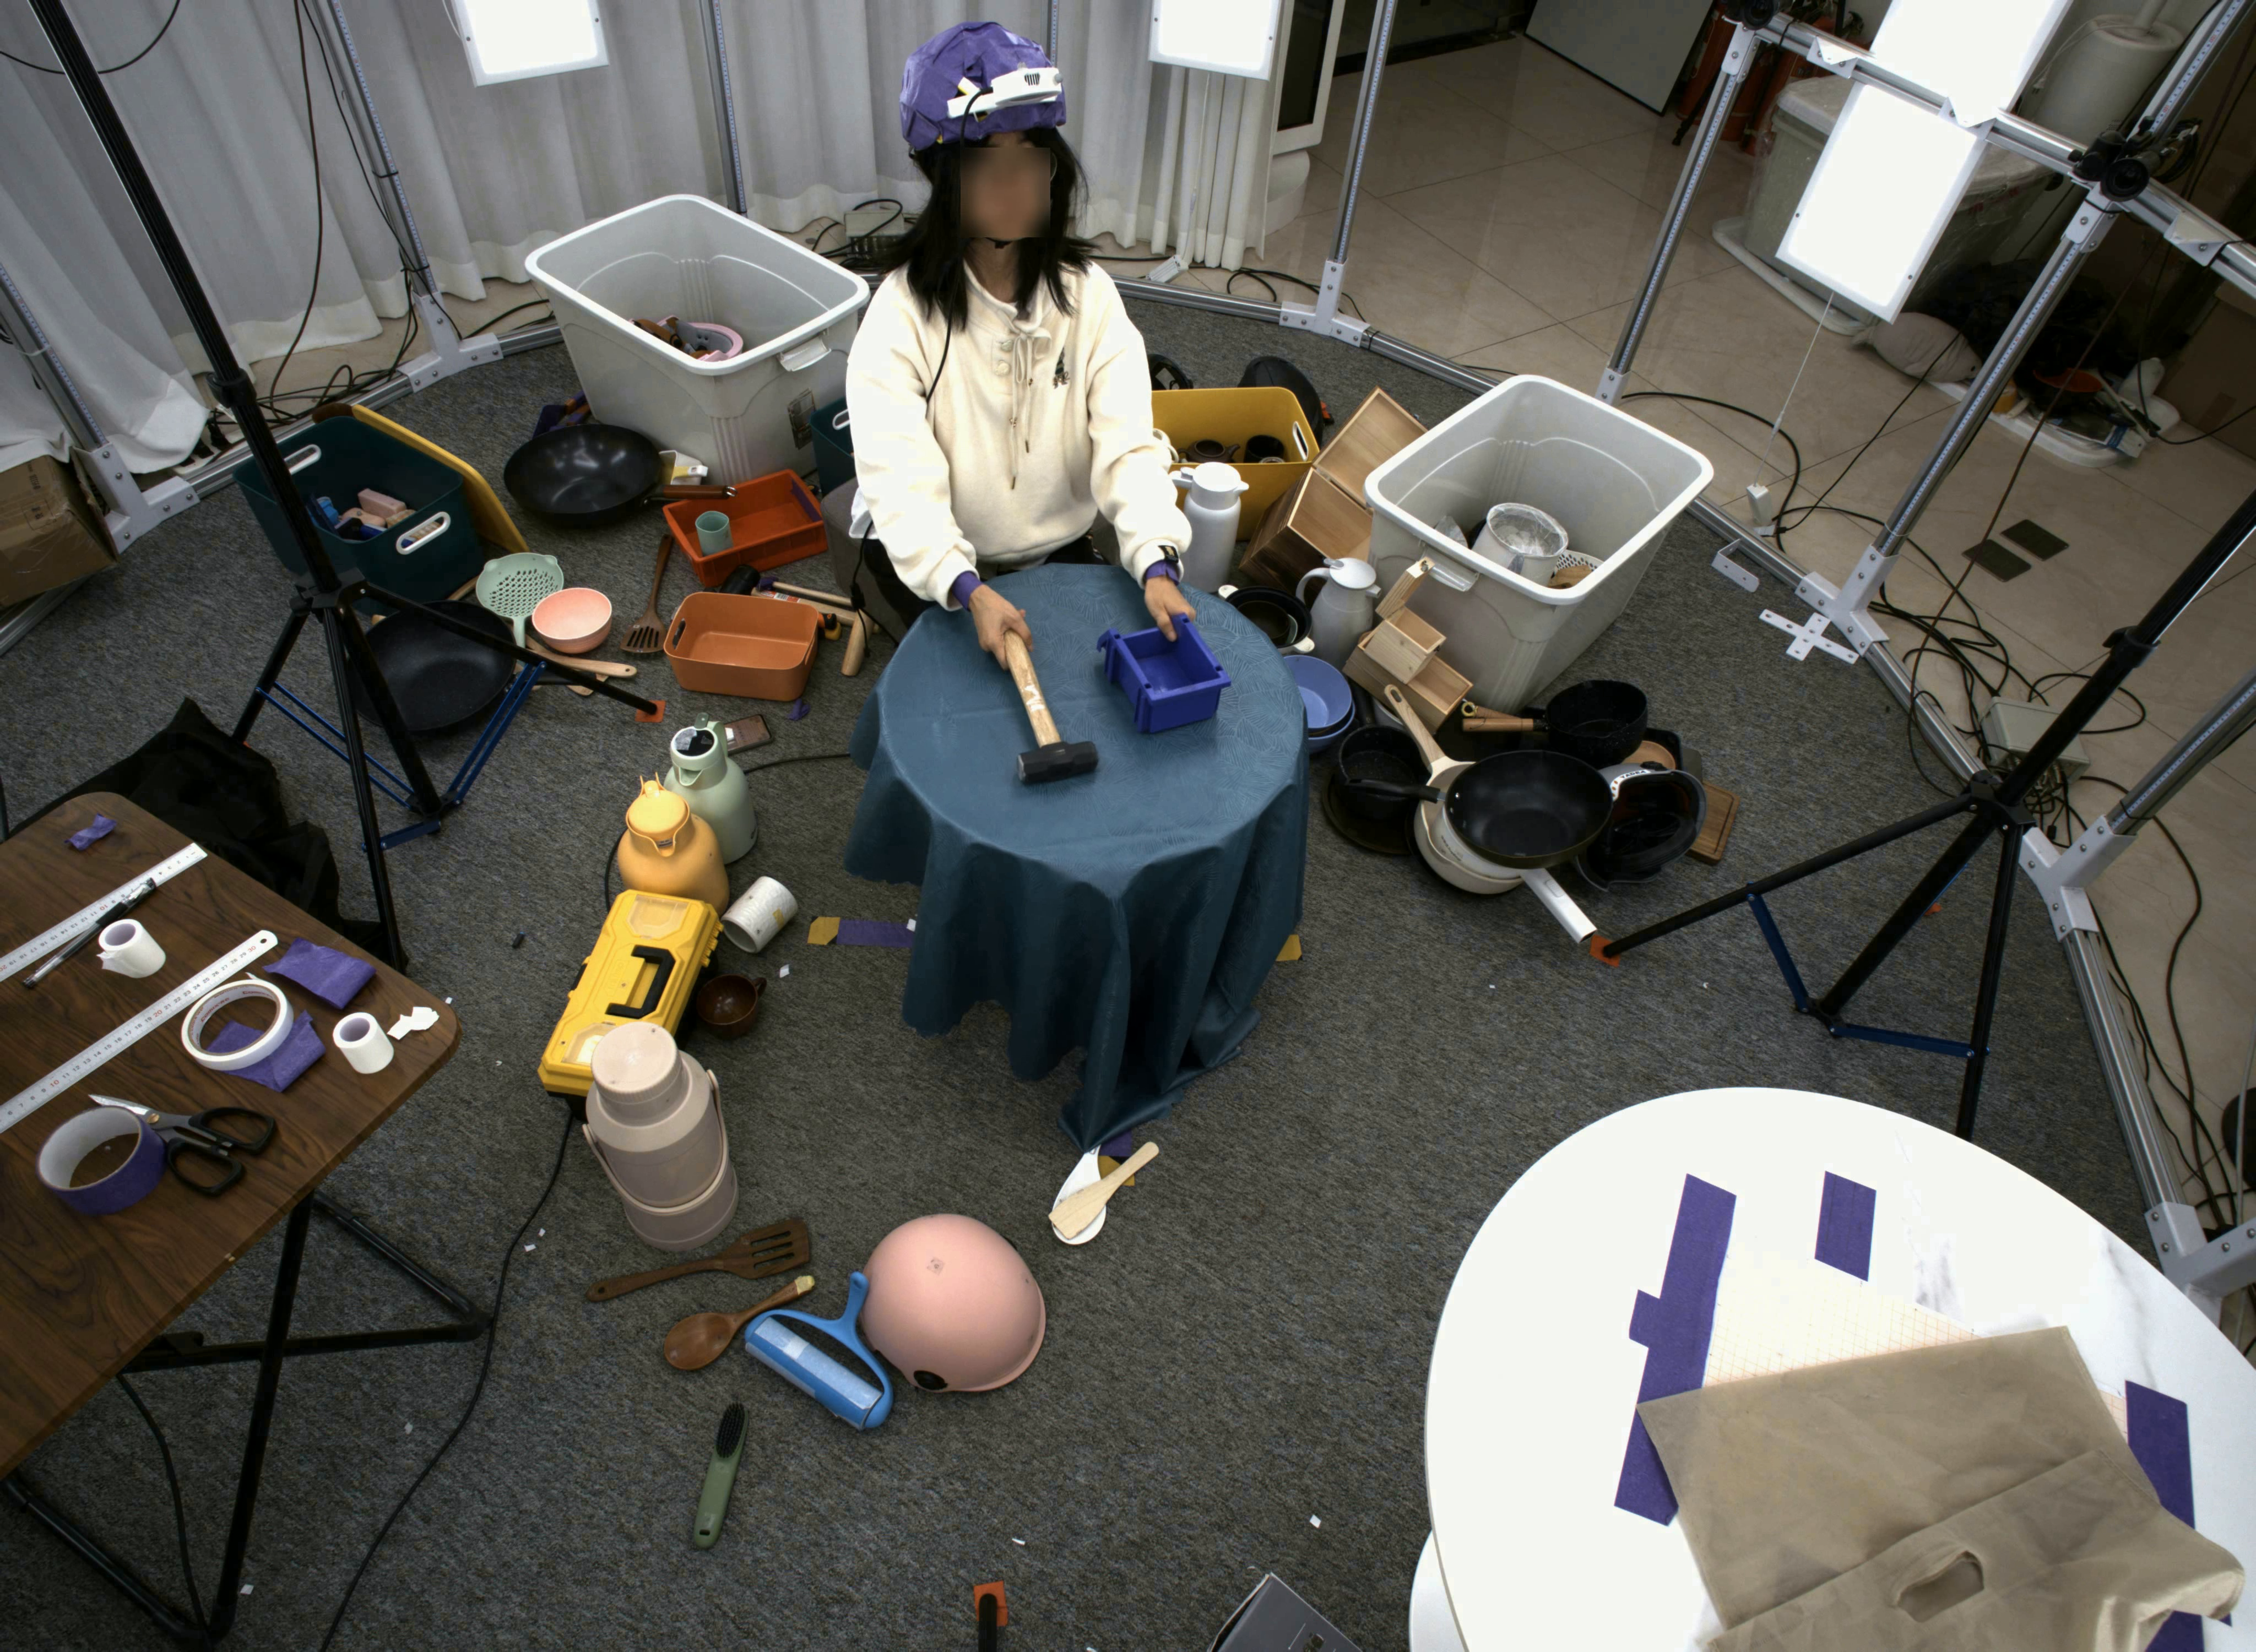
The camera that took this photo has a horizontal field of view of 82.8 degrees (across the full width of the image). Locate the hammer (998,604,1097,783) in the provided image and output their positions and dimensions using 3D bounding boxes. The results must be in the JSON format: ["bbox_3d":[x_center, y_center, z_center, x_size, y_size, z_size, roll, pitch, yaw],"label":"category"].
[{"bbox_3d":[-0.133,-0.192,1.787,0.107,0.037,0.312,-10,55,-13],"label":"hammer"}]

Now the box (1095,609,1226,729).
[{"bbox_3d":[0.041,-0.228,1.816,0.124,0.080,0.183,-15,54,-18],"label":"box"}]
